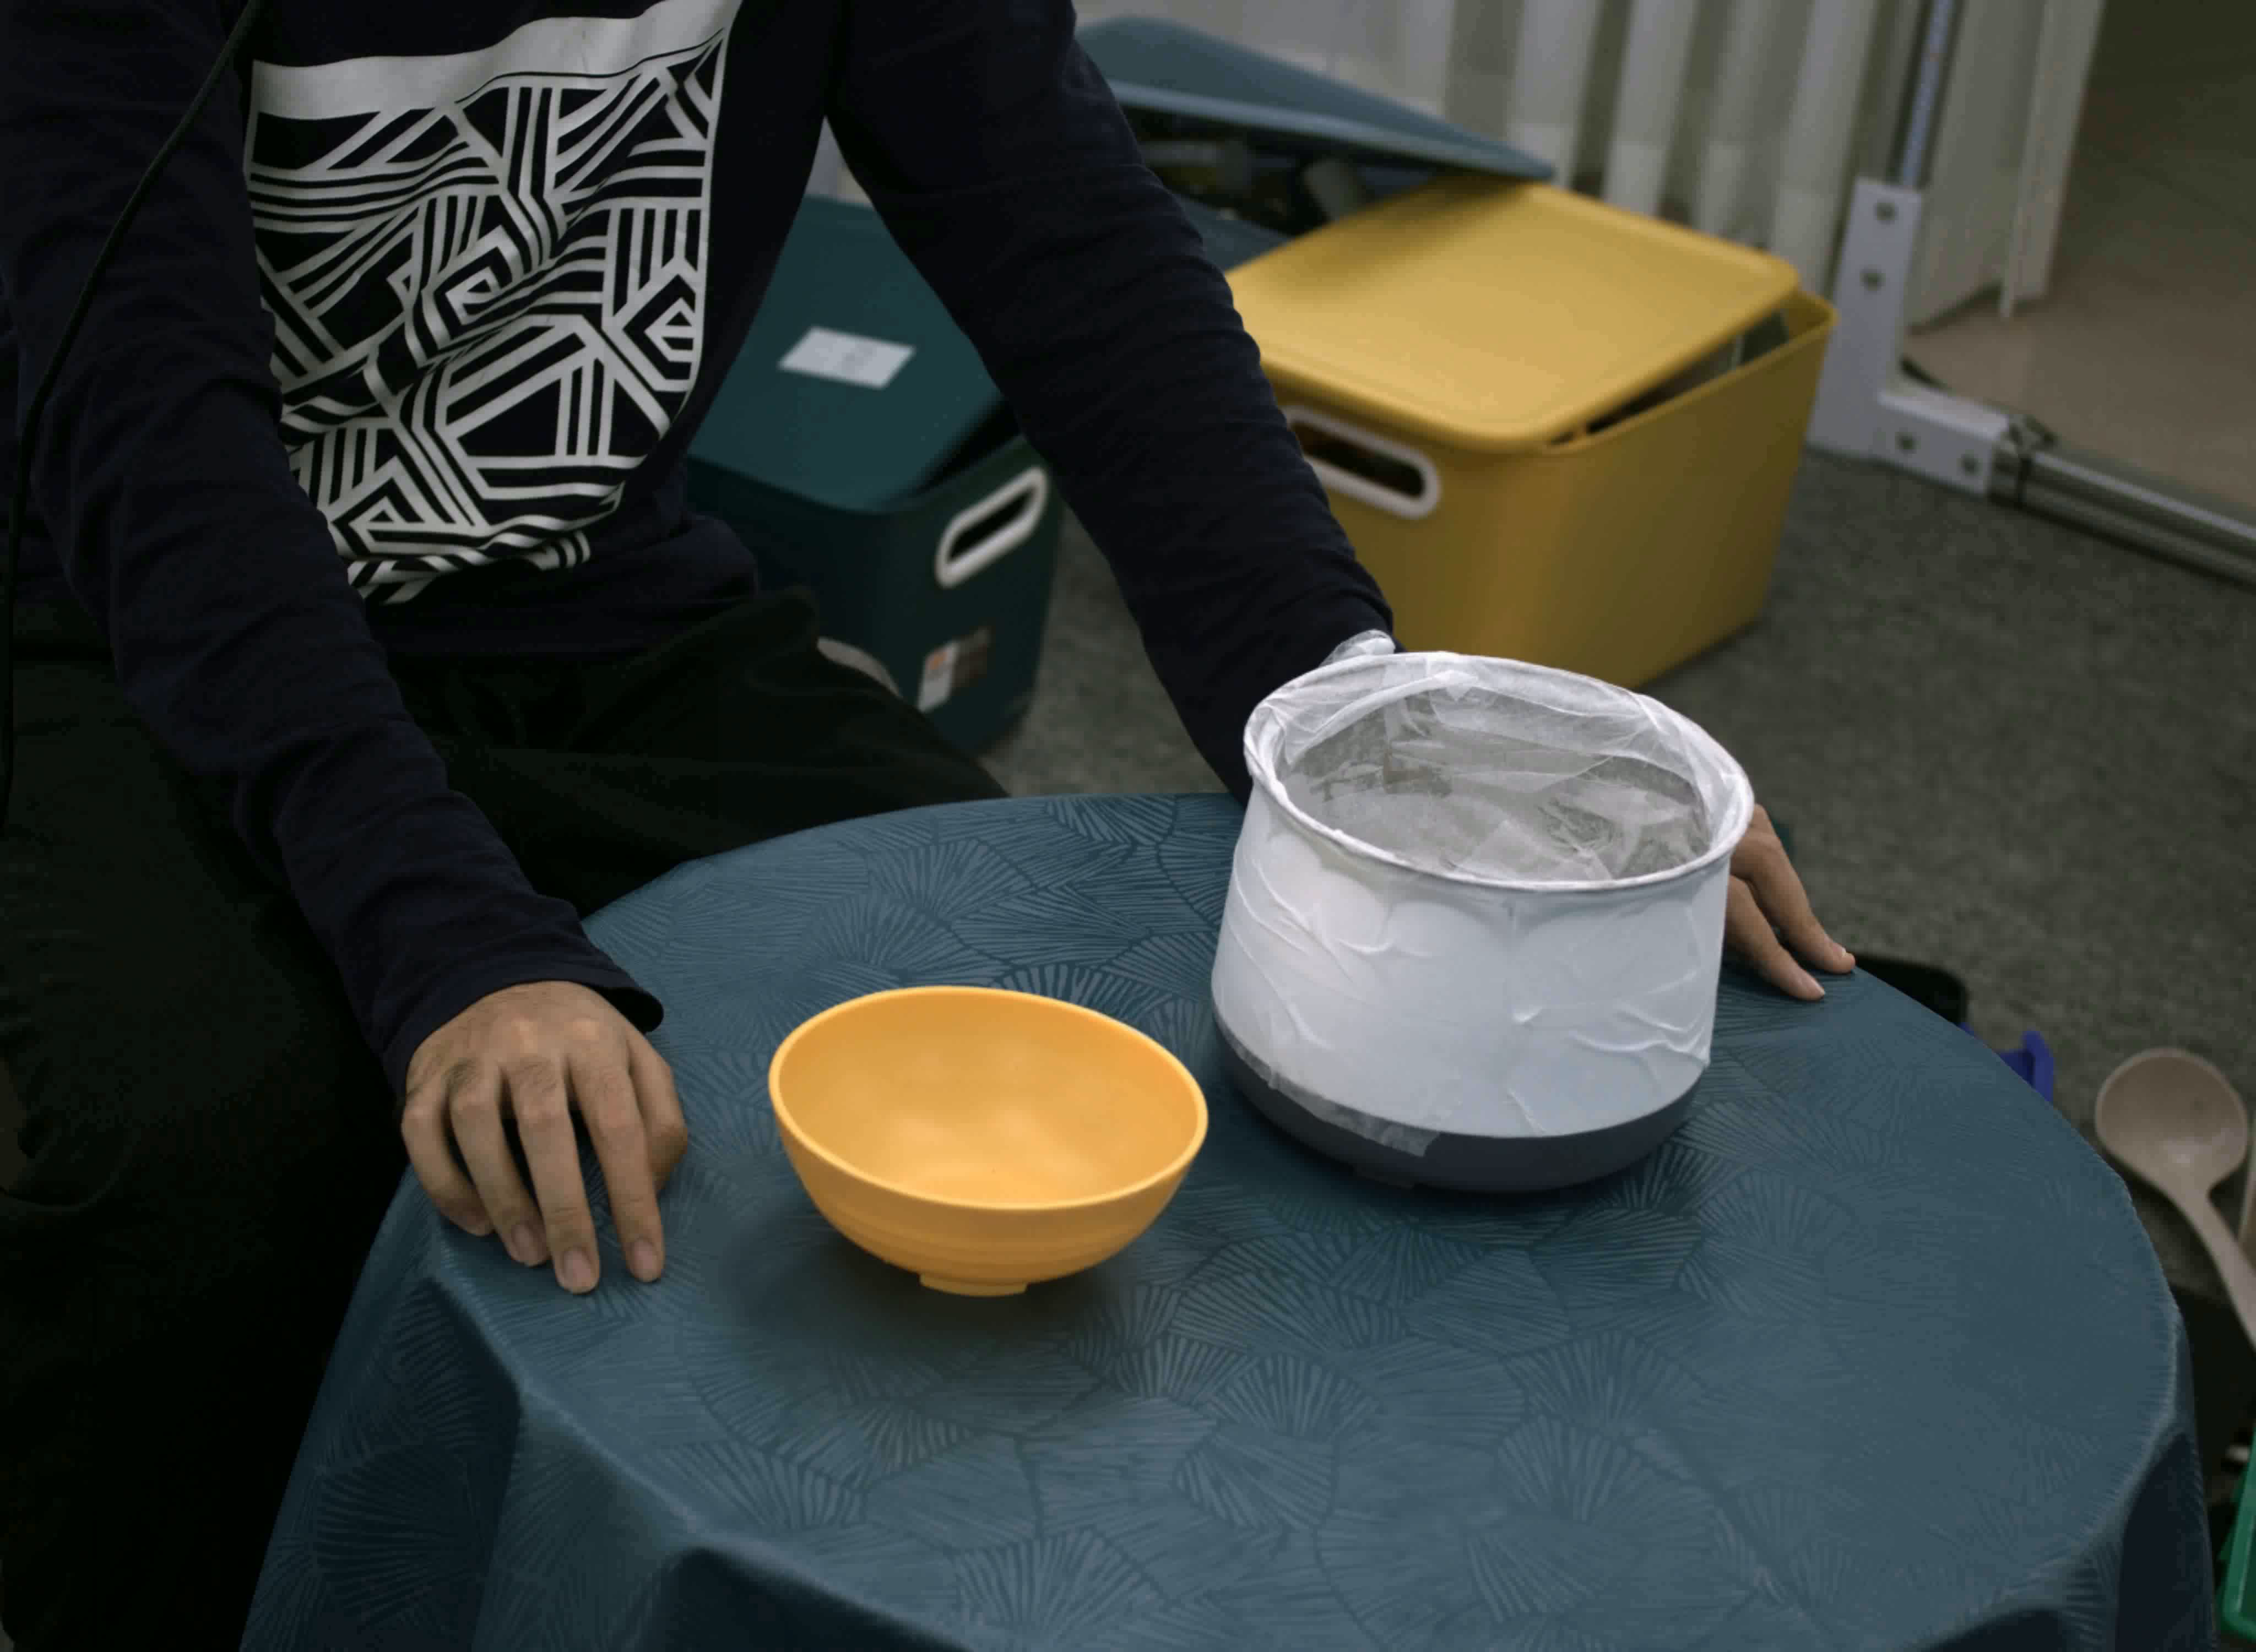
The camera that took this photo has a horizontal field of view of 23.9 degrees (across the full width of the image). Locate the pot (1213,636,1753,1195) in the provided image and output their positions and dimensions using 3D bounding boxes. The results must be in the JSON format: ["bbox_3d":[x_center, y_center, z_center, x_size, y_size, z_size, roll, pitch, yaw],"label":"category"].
[{"bbox_3d":[0.109,0.025,1.880,0.177,0.136,0.236,-6,28,-24],"label":"pot"}]

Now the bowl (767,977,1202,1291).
[{"bbox_3d":[-0.051,0.111,1.750,0.145,0.060,0.146,7,27,-4],"label":"bowl"}]
